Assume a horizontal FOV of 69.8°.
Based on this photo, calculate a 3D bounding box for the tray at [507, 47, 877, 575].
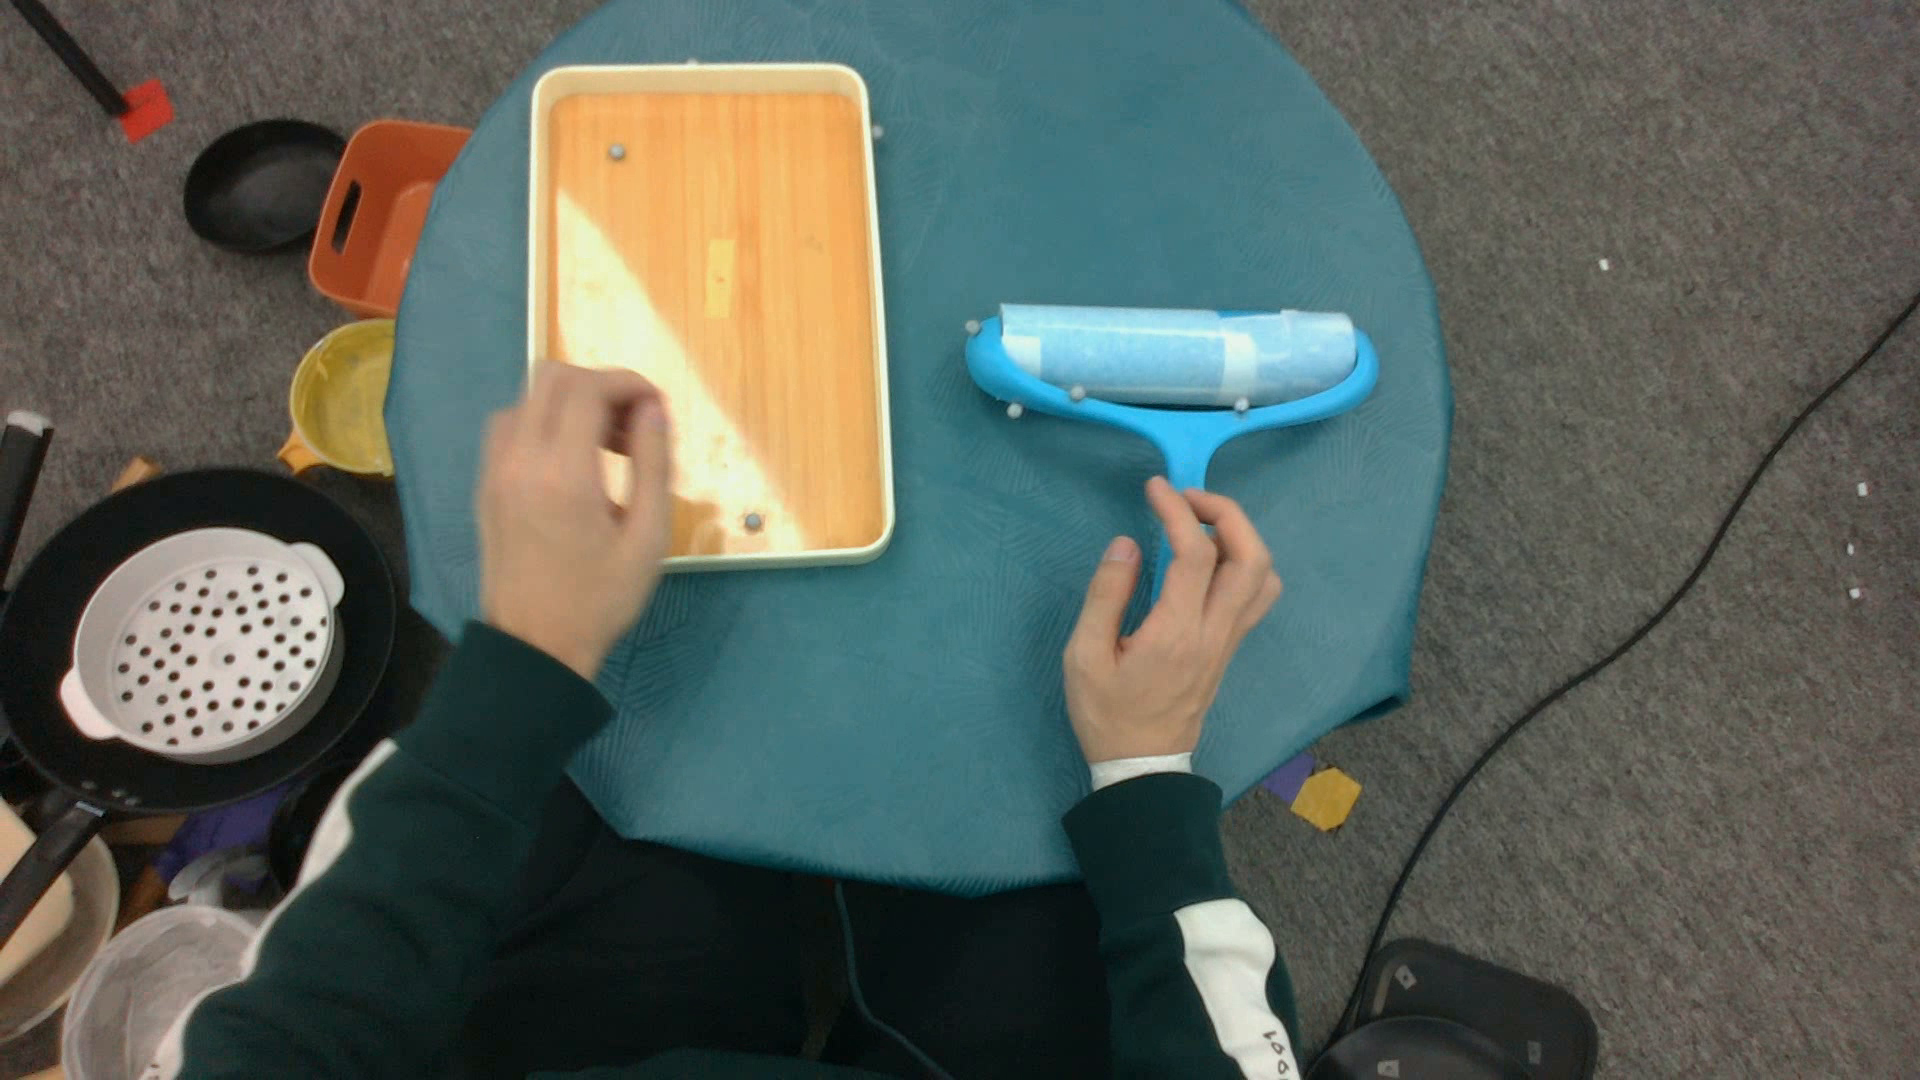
[{"bbox_3d":[-0.150,-0.133,0.763,0.192,0.027,0.301,-4,75,-5],"label":"tray"}]

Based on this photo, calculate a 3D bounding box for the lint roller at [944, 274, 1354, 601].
[{"bbox_3d":[0.111,-0.061,0.750,0.229,0.067,0.180,-4,74,-8],"label":"lint roller"}]
